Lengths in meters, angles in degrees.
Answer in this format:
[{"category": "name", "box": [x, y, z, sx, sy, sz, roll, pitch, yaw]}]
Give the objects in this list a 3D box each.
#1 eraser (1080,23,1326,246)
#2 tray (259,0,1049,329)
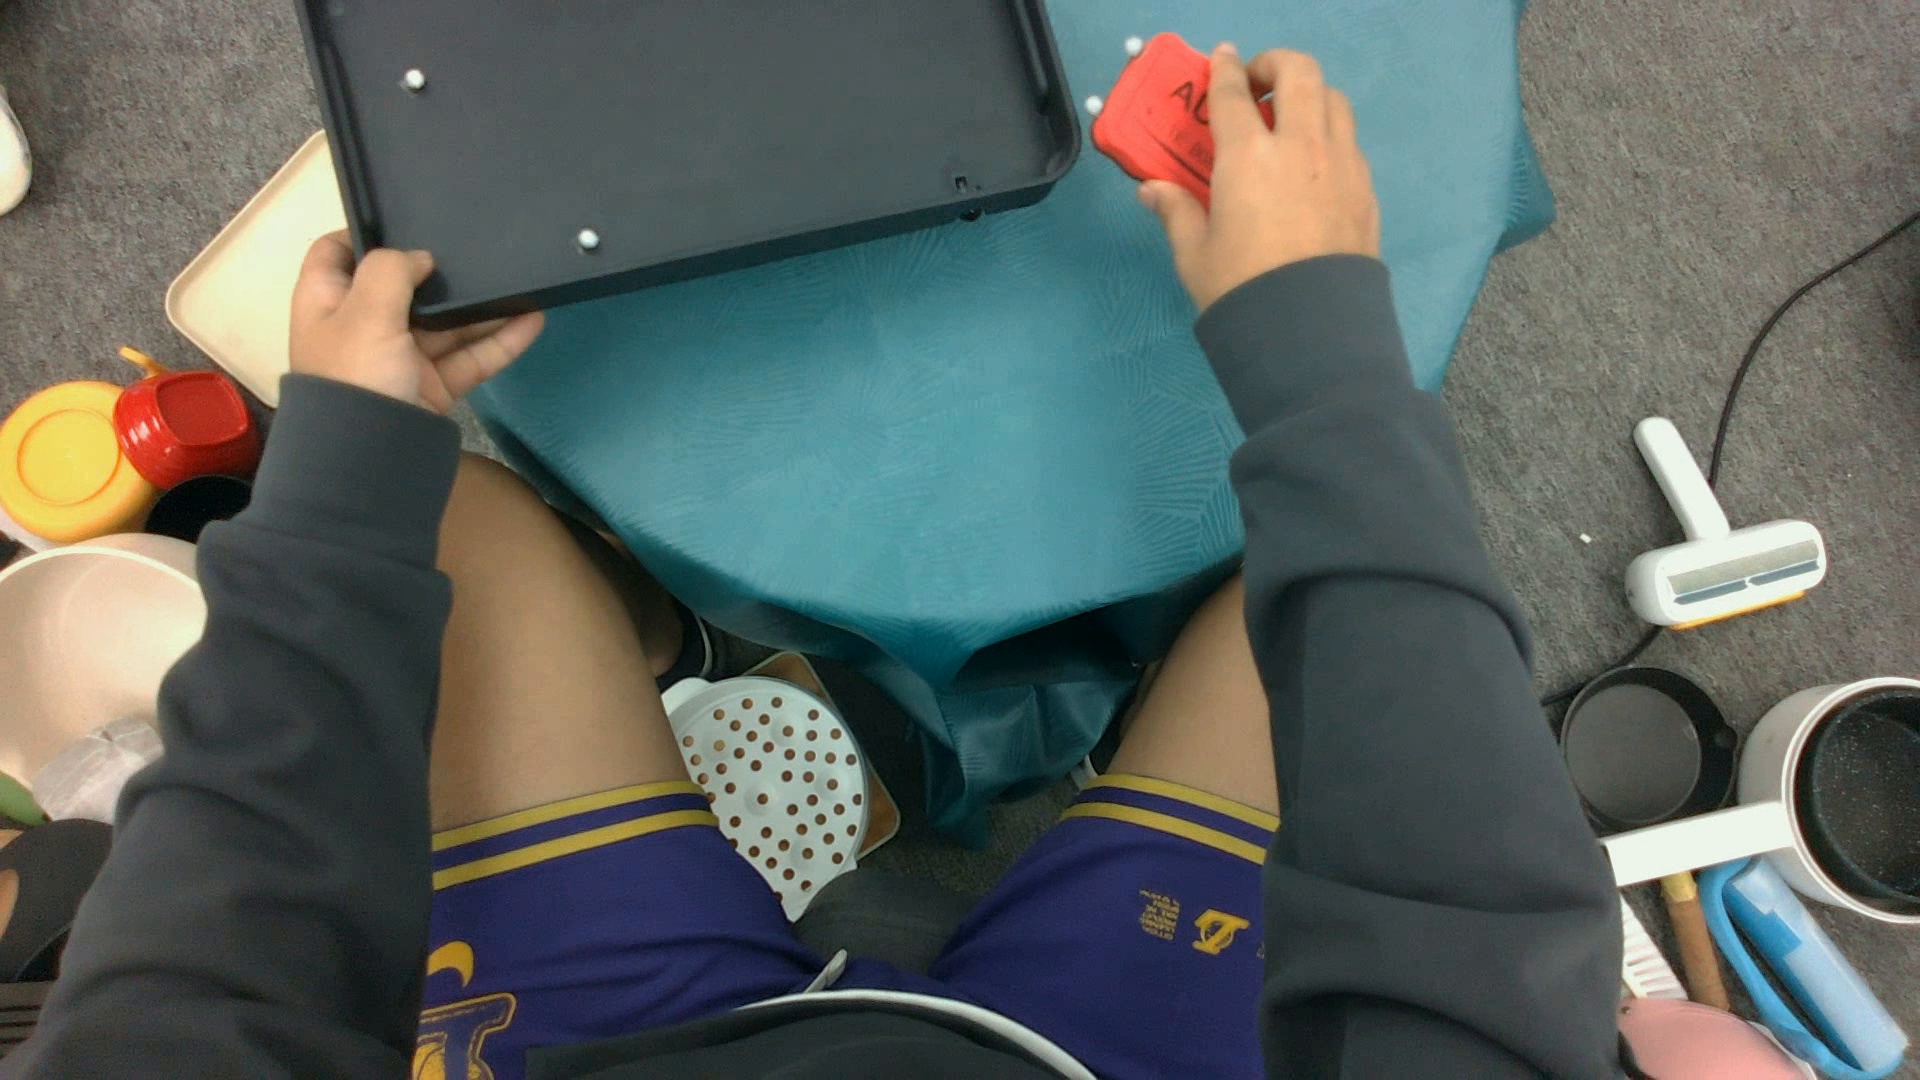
[{"category": "eraser", "box": [0.113, -0.186, 0.636, 0.108, 0.023, 0.059, 30, 96, -18]}, {"category": "tray", "box": [-0.132, -0.217, 0.622, 0.318, 0.037, 0.184, -17, 86, -13]}]
